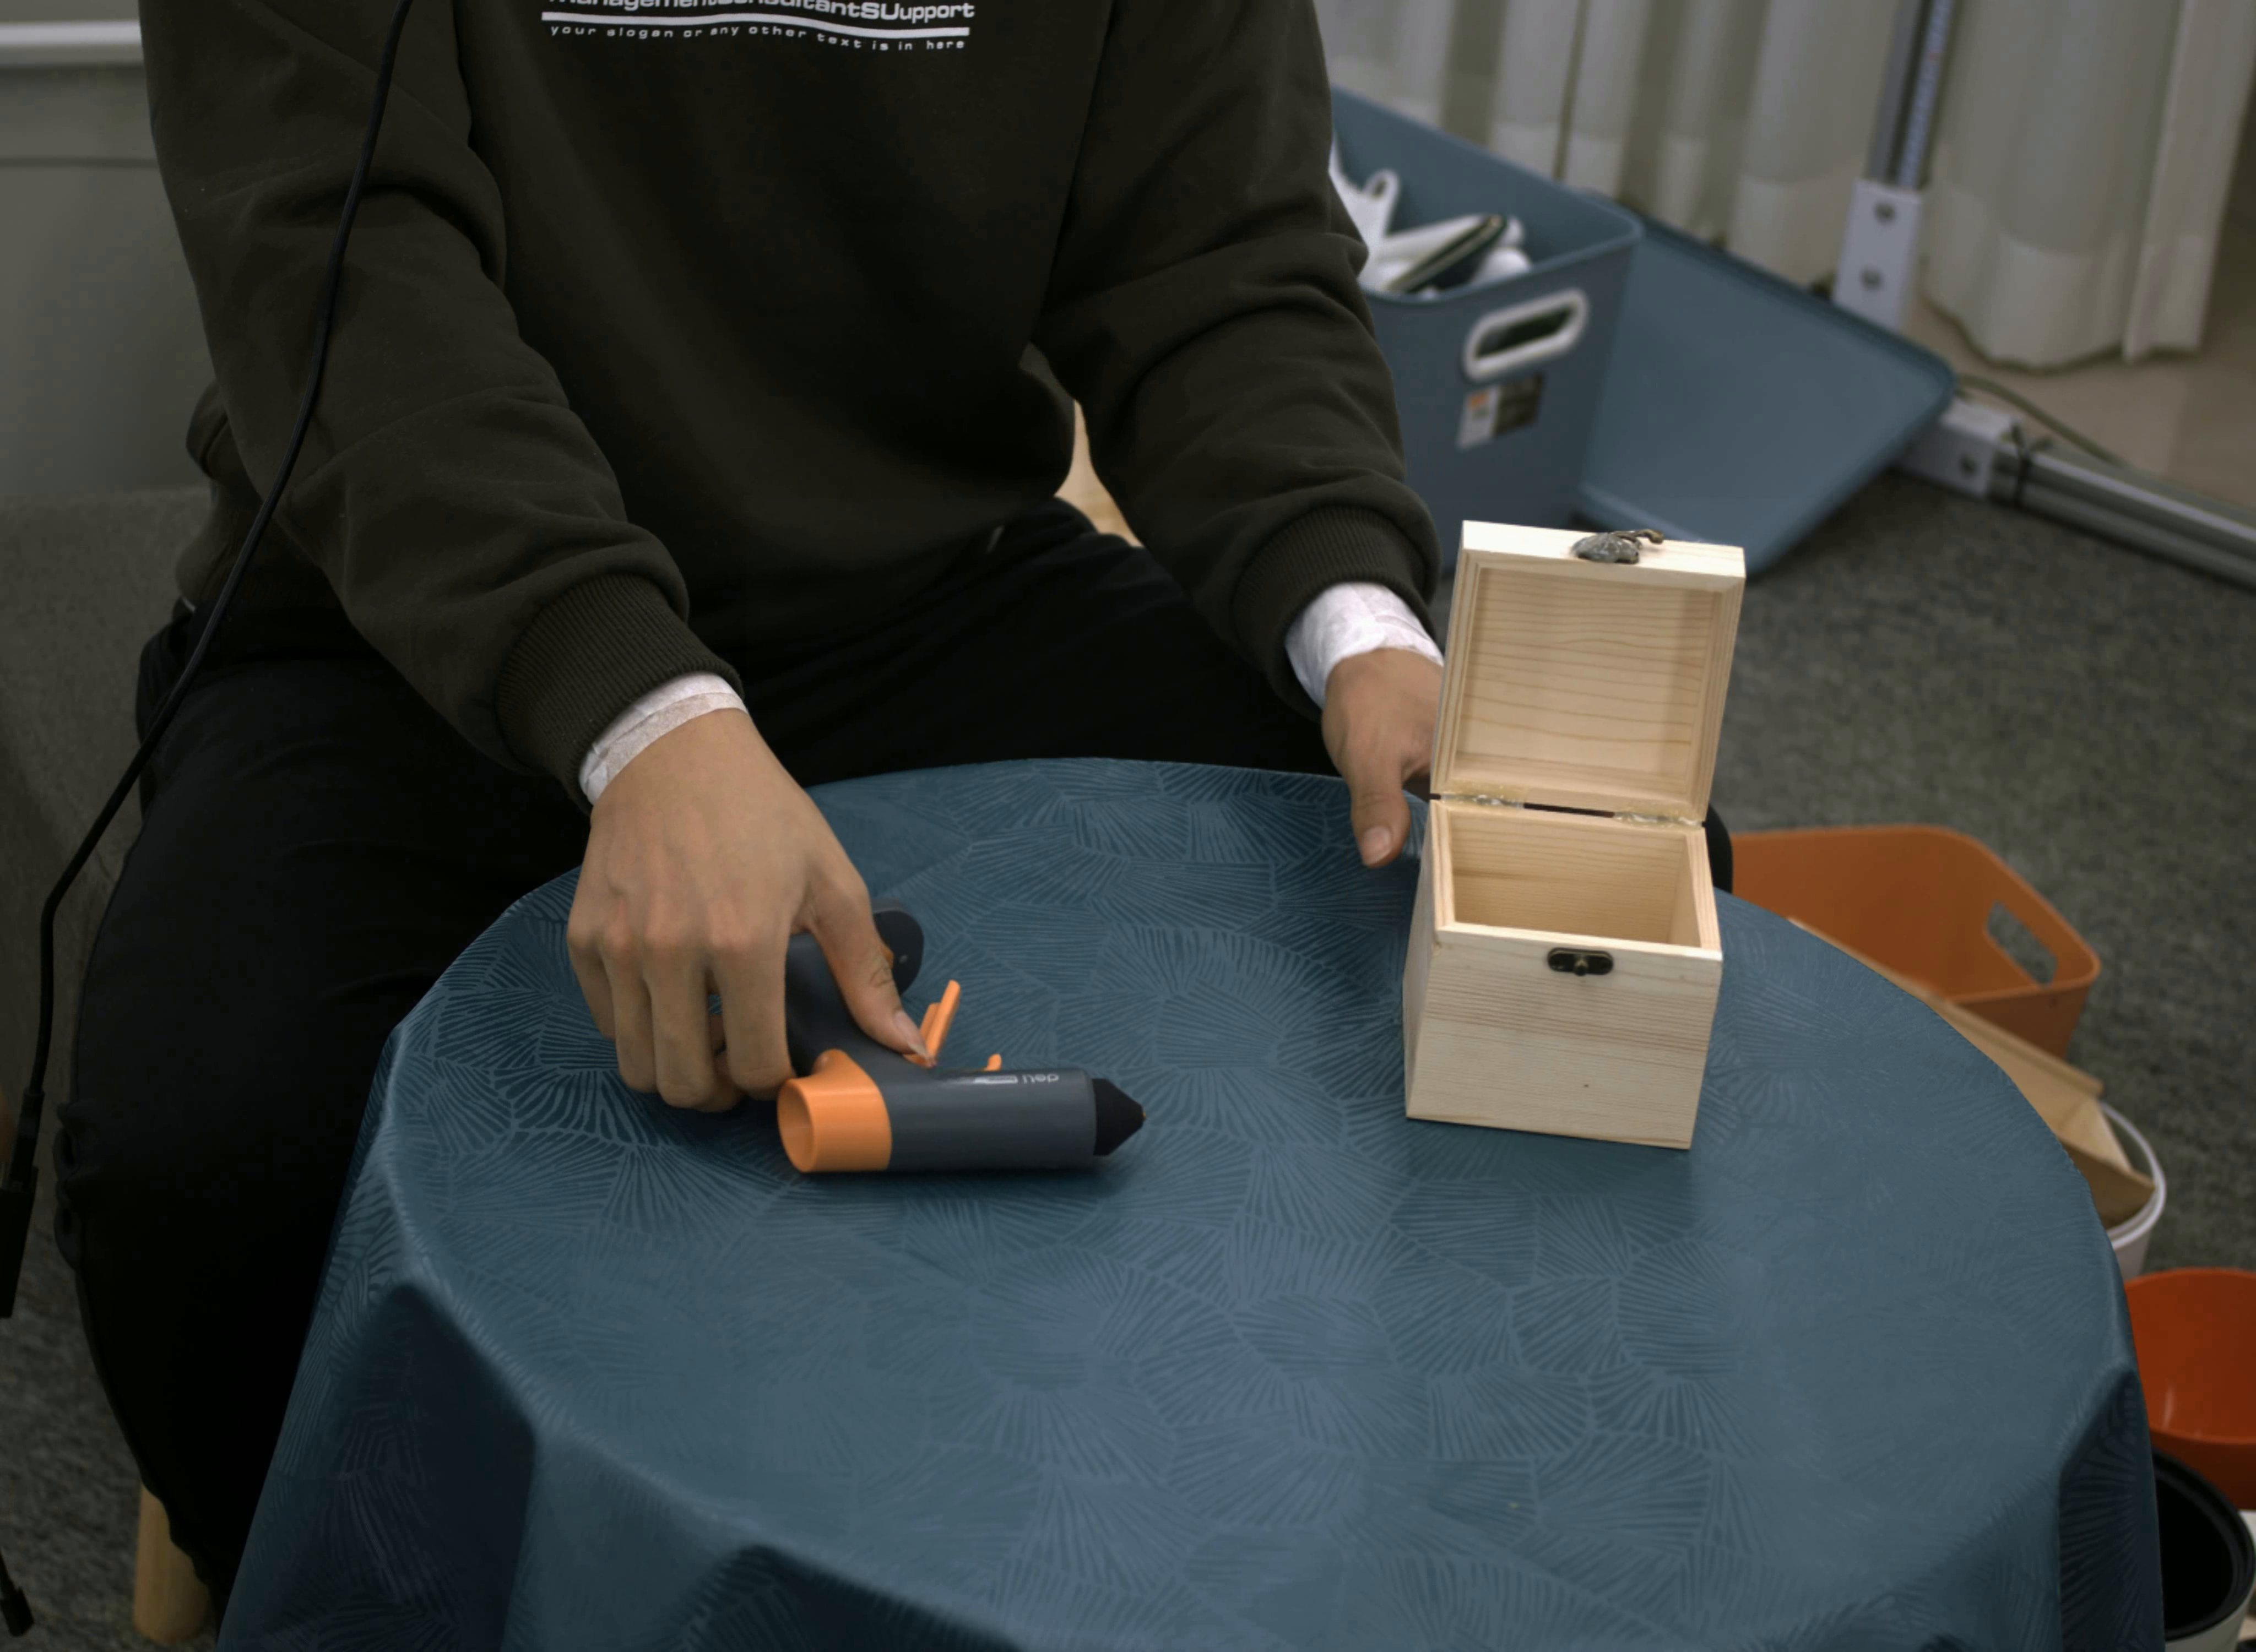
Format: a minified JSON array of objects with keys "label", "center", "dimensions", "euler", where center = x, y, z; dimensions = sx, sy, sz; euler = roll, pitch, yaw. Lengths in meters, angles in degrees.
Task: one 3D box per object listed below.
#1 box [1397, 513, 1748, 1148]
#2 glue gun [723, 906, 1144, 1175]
[{"label":"box","center":[0.158,0.000,1.883],"dimensions":[0.102,0.184,0.135],"euler":[6,28,-2]},{"label":"glue gun","center":[-0.073,0.081,1.844],"dimensions":[0.117,0.041,0.141],"euler":[-6,32,-29]}]
